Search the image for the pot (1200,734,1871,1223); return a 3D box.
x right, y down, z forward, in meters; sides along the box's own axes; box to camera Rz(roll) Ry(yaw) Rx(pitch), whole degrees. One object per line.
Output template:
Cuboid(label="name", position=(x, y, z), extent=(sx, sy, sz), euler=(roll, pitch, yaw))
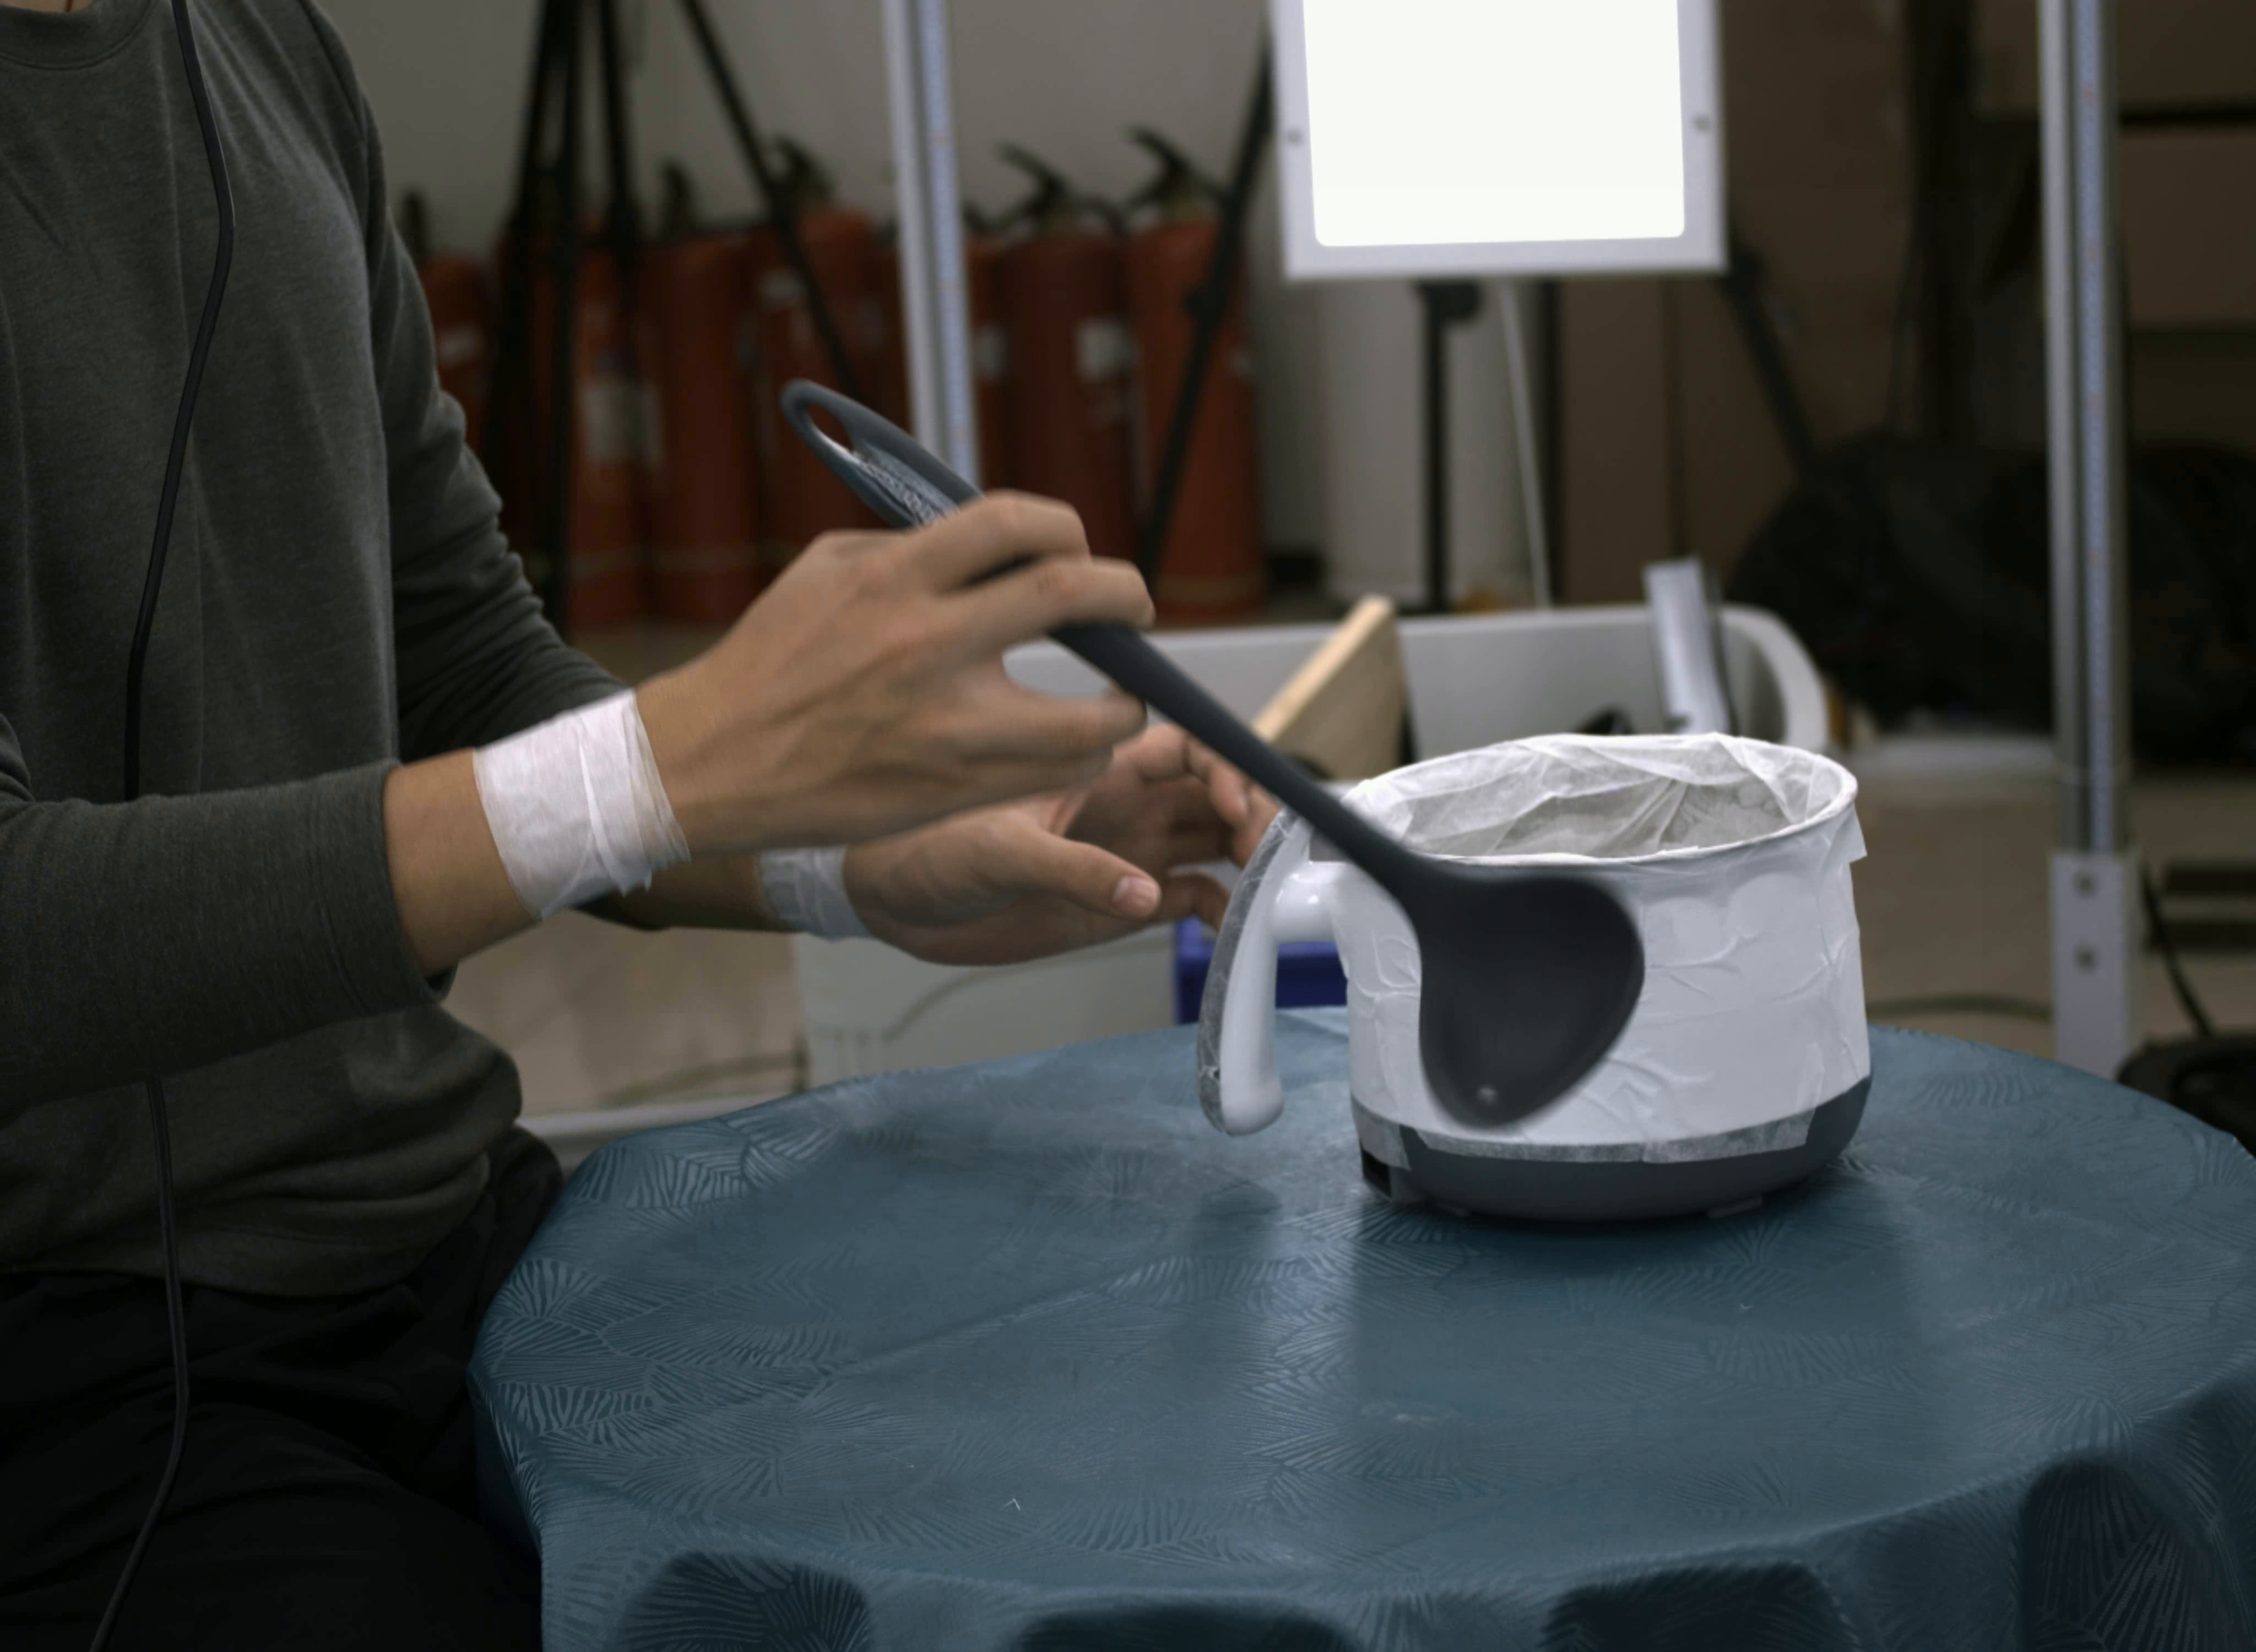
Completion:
Cuboid(label="pot", position=(0.136, 0.052, 1.871), extent=(0.236, 0.137, 0.176), euler=(-2, 14, 15))

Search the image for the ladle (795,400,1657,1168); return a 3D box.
Cuboid(label="ladle", position=(0.023, -0.021, 1.622), extent=(0.313, 0.087, 0.063), euler=(39, 13, -2))
